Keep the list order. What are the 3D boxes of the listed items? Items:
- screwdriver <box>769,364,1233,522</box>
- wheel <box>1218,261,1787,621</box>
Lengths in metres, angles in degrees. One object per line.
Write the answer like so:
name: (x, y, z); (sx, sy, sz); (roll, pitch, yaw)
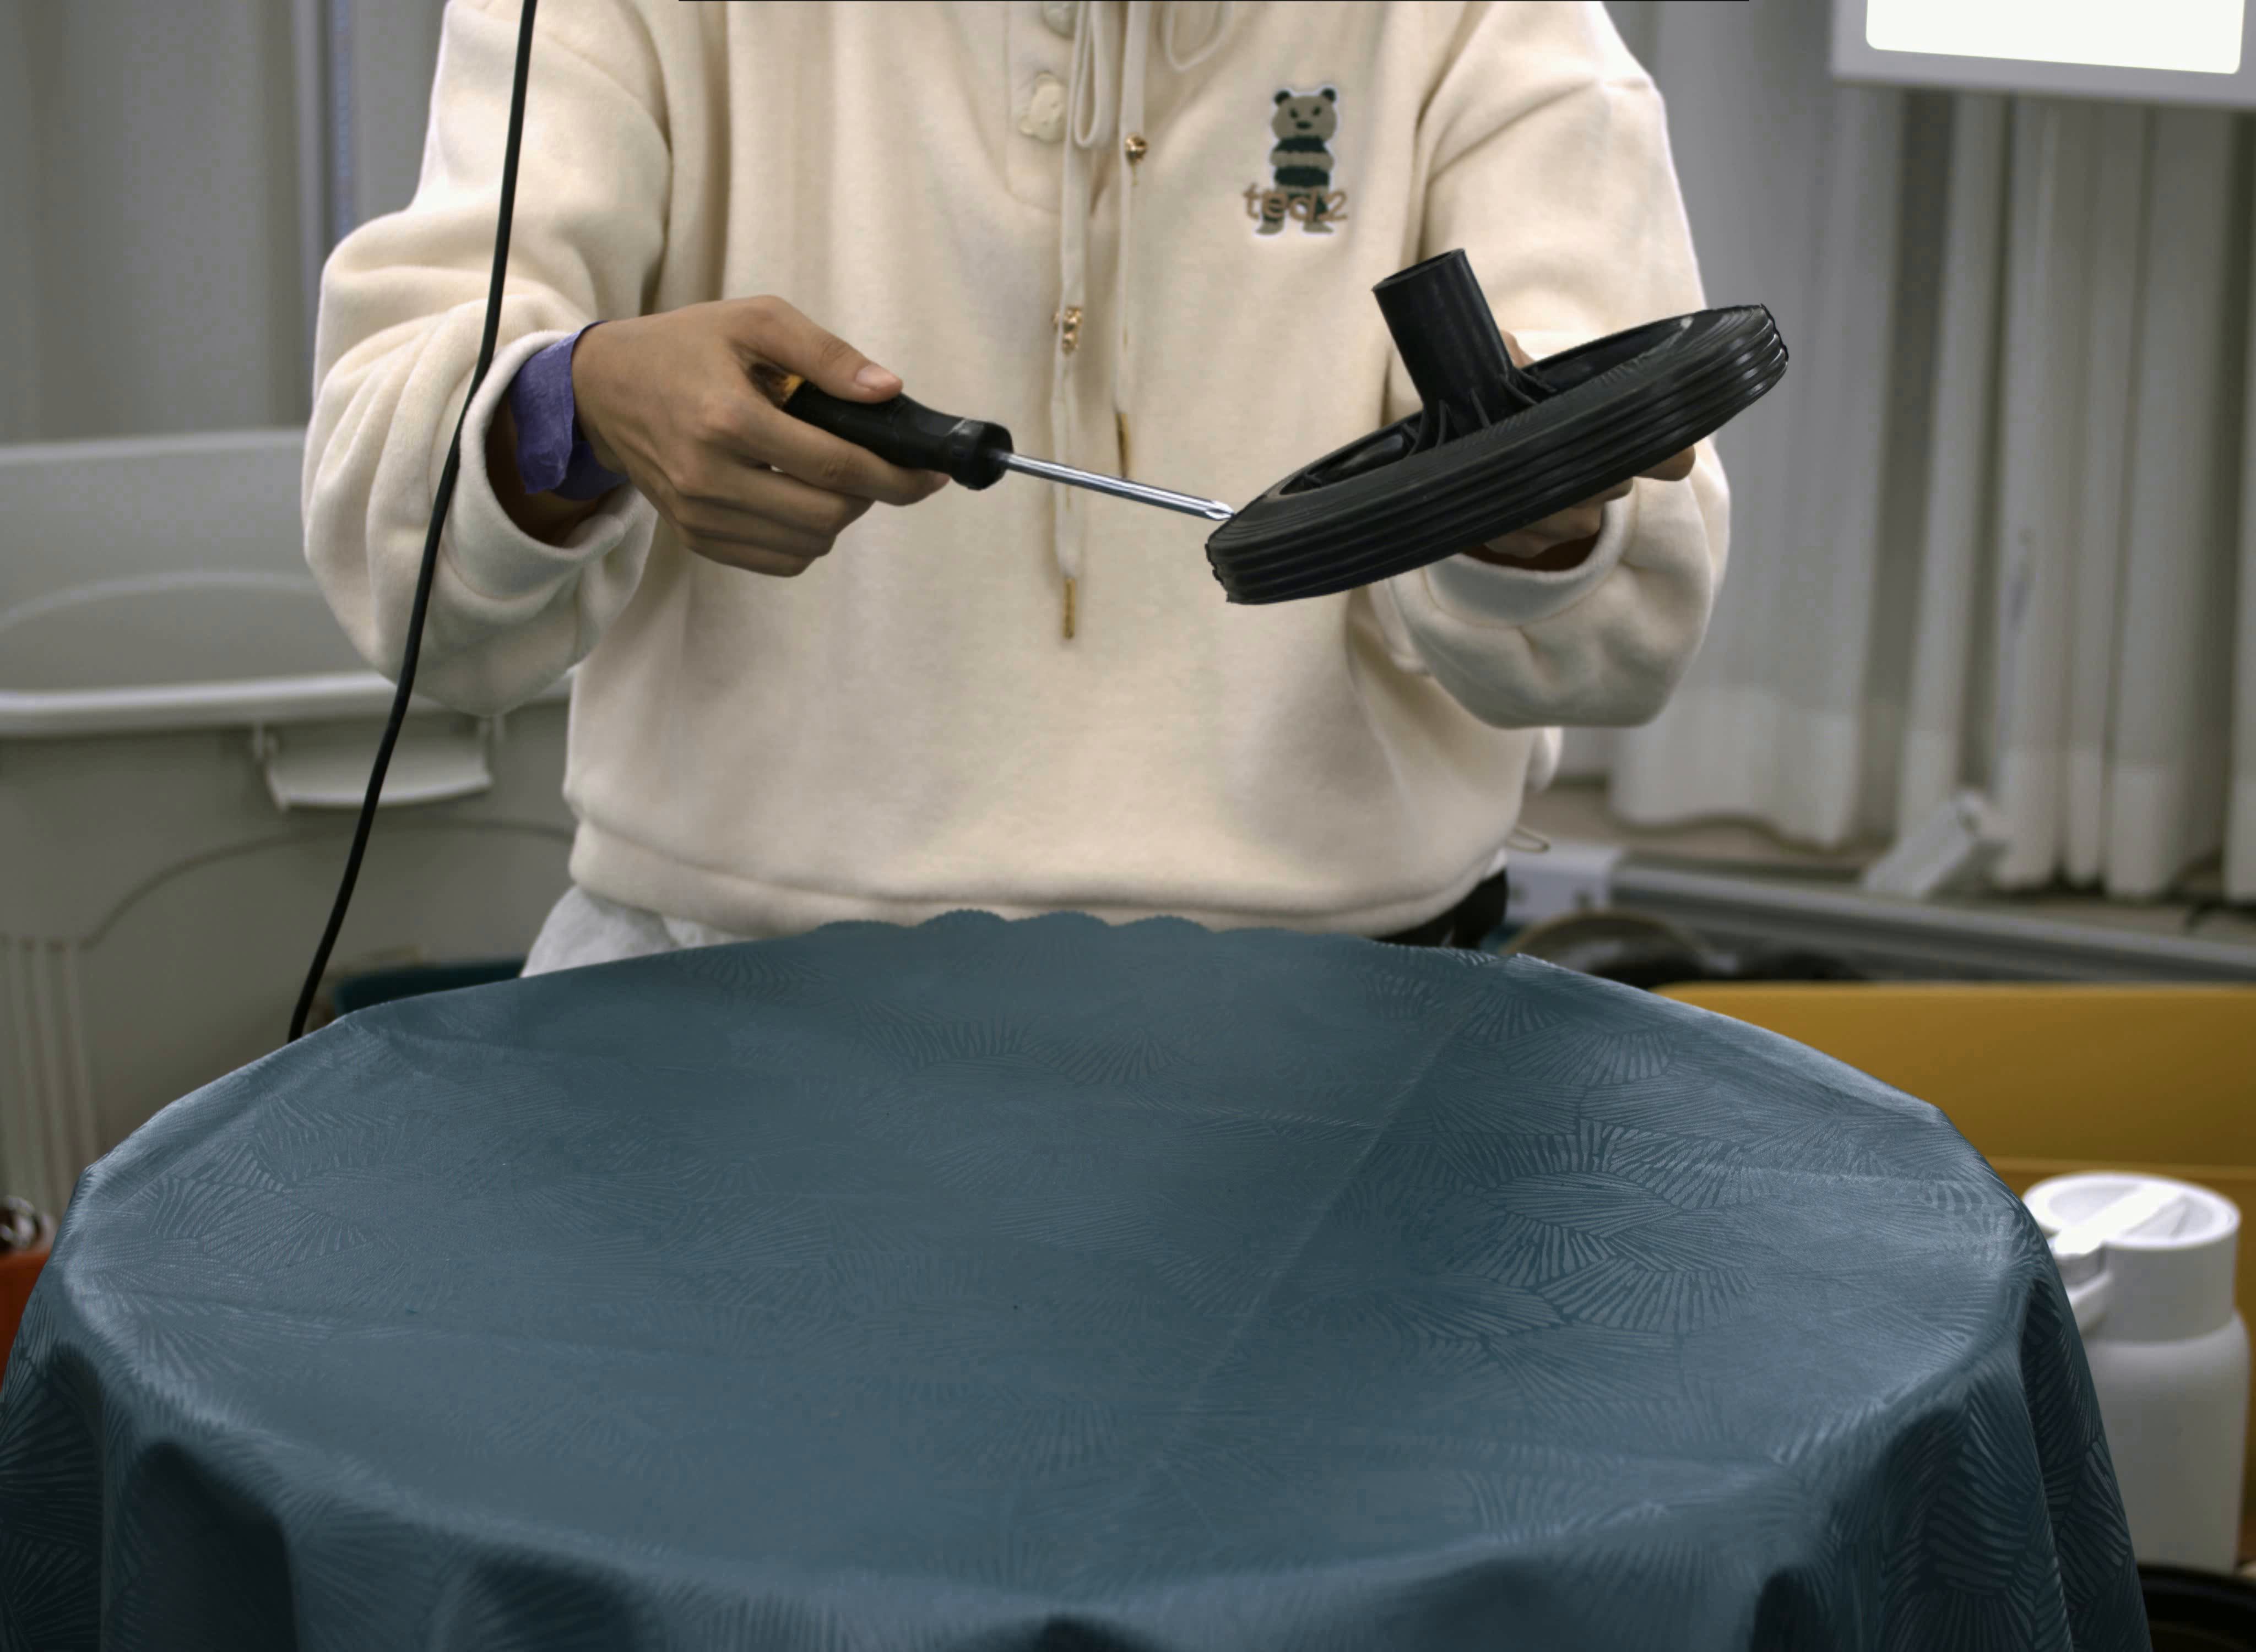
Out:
screwdriver: (-0.043, -0.122, 1.697); (0.193, 0.032, 0.031); (16, 22, 40)
wheel: (0.105, -0.131, 1.619); (0.186, 0.079, 0.190); (-17, 13, 40)
